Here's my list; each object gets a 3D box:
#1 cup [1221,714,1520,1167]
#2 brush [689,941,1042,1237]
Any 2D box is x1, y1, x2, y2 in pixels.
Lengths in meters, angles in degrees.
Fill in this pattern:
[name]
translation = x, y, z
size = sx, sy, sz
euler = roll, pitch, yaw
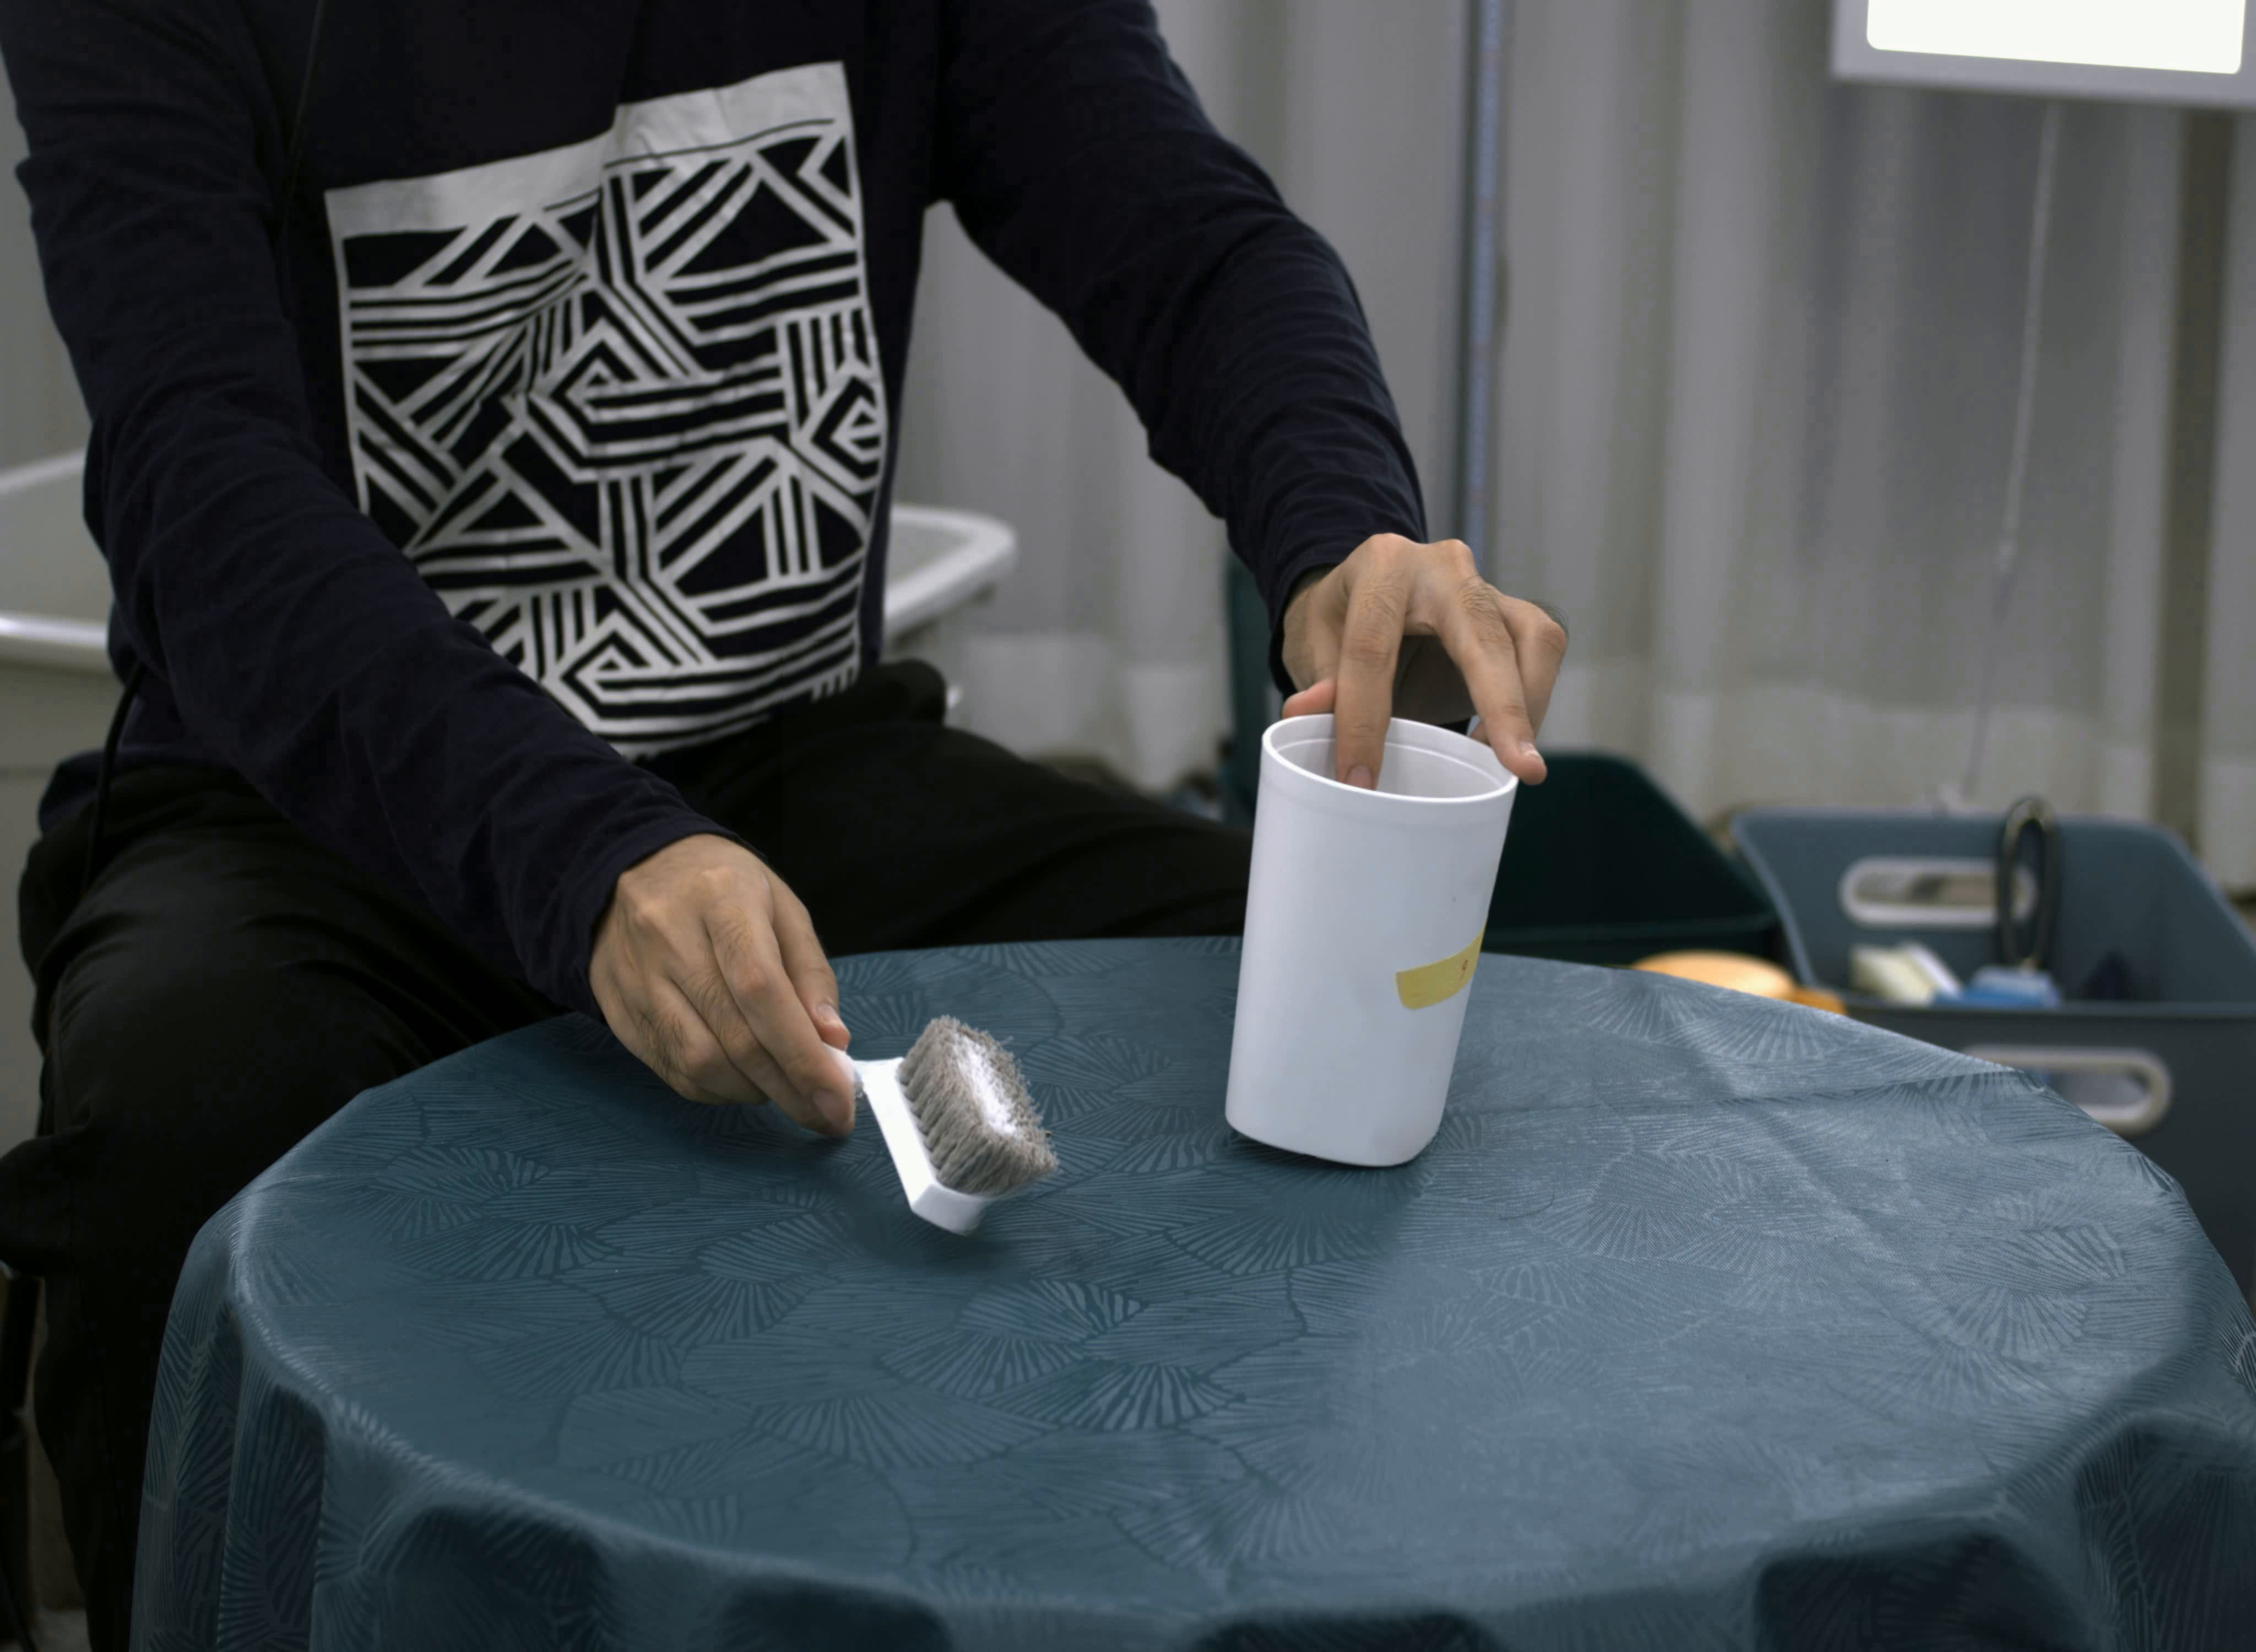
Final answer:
[cup]
translation = 0.073, 0.036, 1.656
size = 0.081, 0.126, 0.081
euler = 8, 18, -2
[brush]
translation = -0.085, 0.063, 1.646
size = 0.034, 0.050, 0.240
euler = 18, 11, -28
